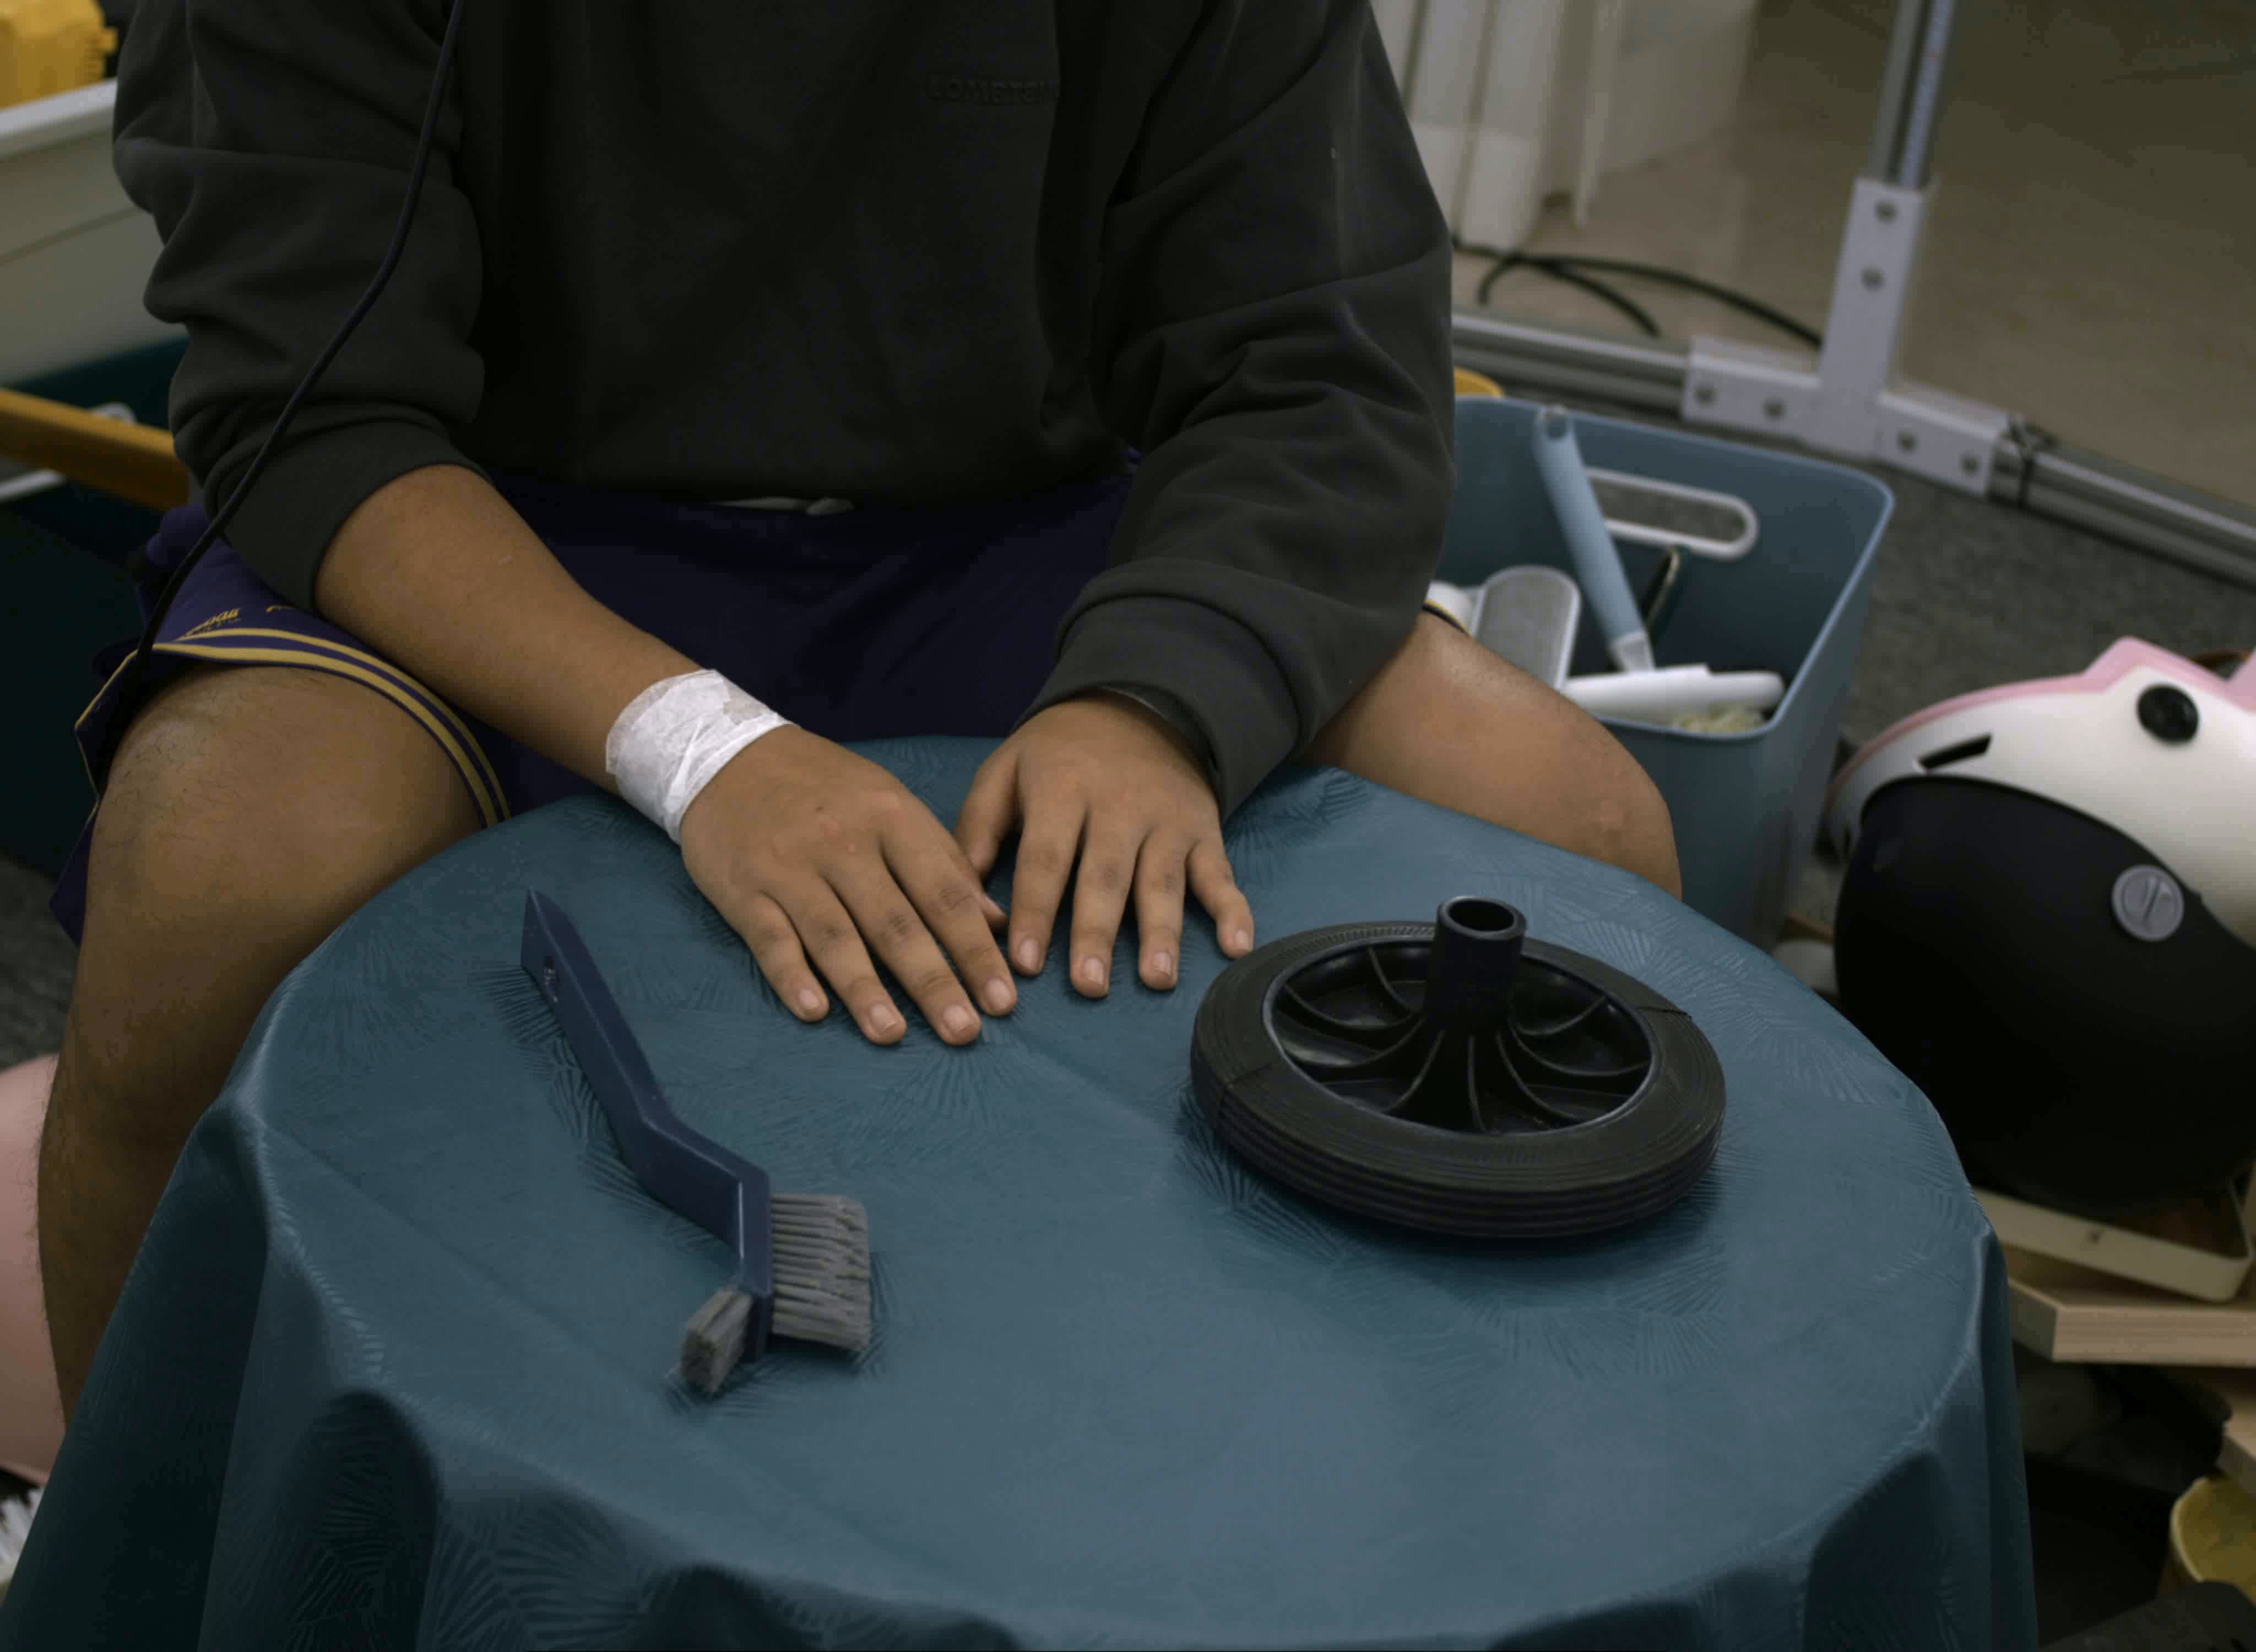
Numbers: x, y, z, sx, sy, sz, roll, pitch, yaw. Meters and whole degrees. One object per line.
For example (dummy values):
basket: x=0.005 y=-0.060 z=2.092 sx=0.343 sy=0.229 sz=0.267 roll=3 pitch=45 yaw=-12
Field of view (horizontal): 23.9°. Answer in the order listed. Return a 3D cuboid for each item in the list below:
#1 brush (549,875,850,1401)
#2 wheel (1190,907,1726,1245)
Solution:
brush: x=-0.167 y=0.099 z=1.777 sx=0.095 sy=0.033 sz=0.276 roll=-9 pitch=32 yaw=-27
wheel: x=0.117 y=0.070 z=1.849 sx=0.187 sy=0.079 sz=0.190 roll=9 pitch=27 yaw=6
